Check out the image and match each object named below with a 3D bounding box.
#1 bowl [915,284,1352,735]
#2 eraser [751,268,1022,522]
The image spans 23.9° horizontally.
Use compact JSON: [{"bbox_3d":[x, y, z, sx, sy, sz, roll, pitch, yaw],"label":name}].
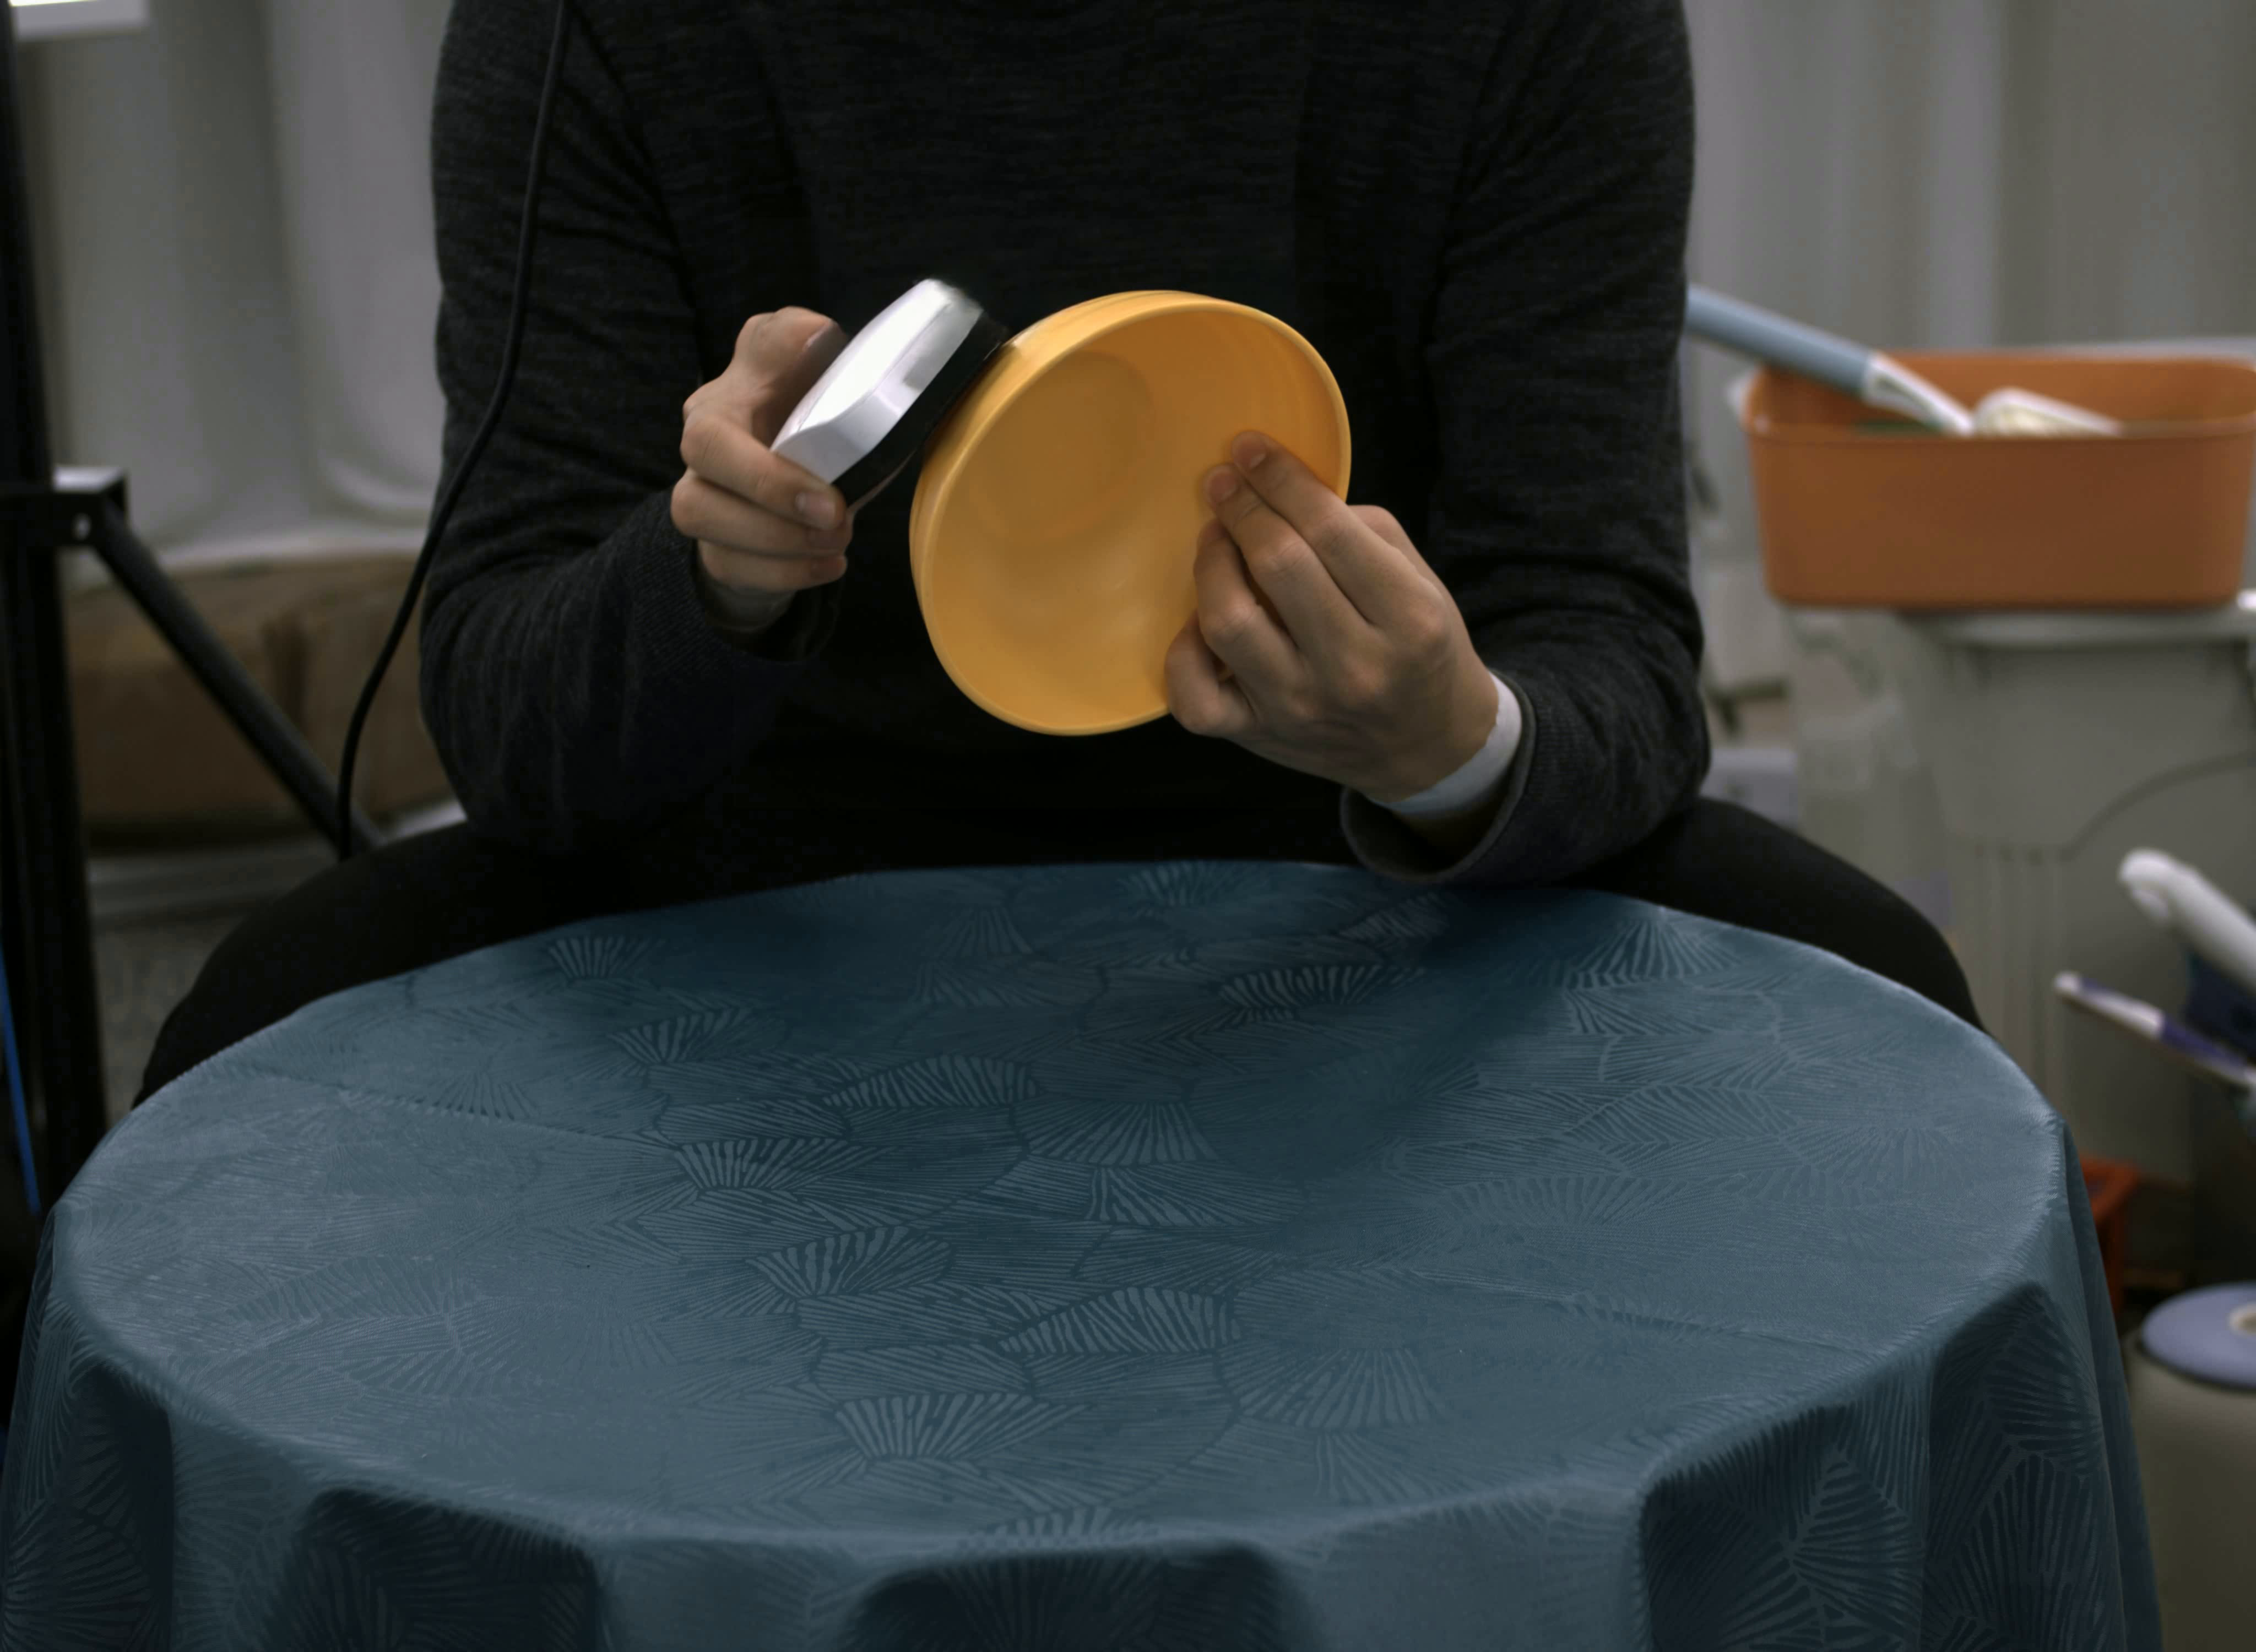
[{"bbox_3d":[-0.008,-0.104,1.589,0.142,0.145,0.061,-10,35,-27],"label":"bowl"},{"bbox_3d":[-0.073,-0.129,1.590,0.063,0.034,0.132,-49,9,-16],"label":"eraser"}]
